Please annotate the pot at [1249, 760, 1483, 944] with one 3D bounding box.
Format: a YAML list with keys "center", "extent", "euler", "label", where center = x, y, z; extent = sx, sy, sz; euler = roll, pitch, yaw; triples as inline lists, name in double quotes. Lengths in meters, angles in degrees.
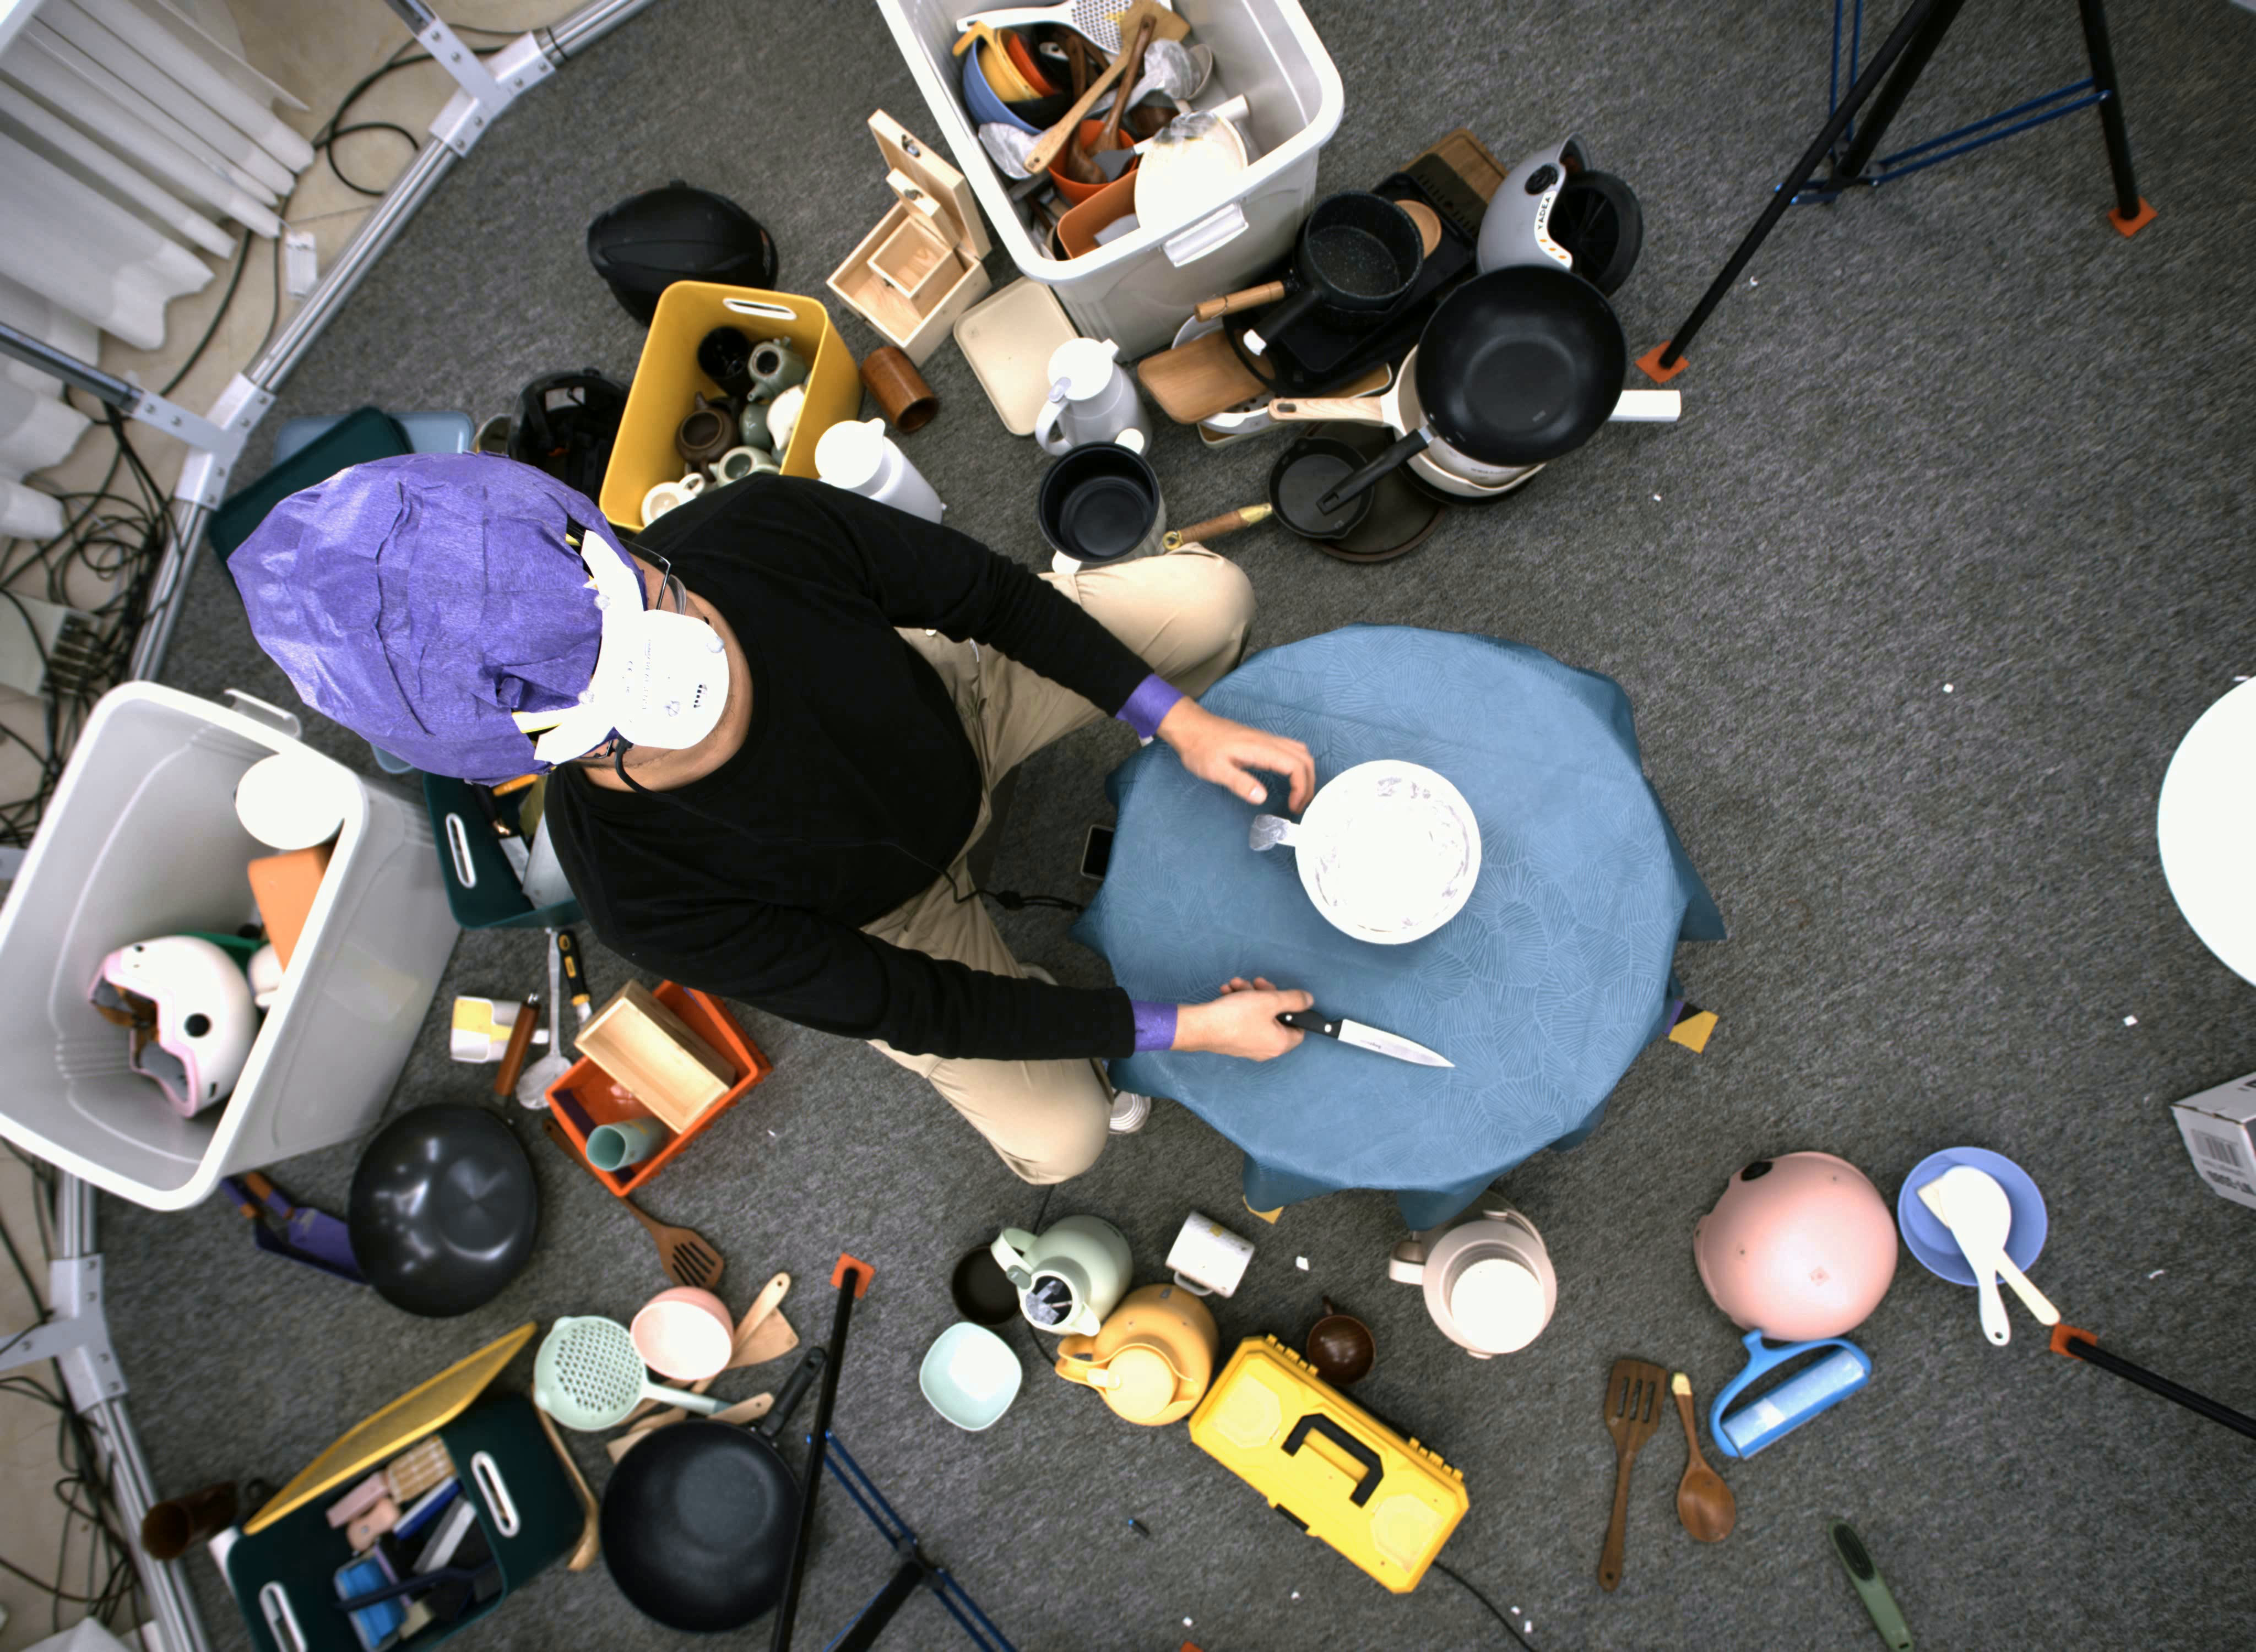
- center: [0.235, 0.024, 1.398]
  extent: [0.234, 0.137, 0.178]
  euler: [10, 87, 10]
  label: "pot"

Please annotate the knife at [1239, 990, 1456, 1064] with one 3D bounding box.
- center: [0.228, 0.213, 1.441]
  extent: [0.238, 0.016, 0.024]
  euler: [17, 70, 1]
  label: "knife"
